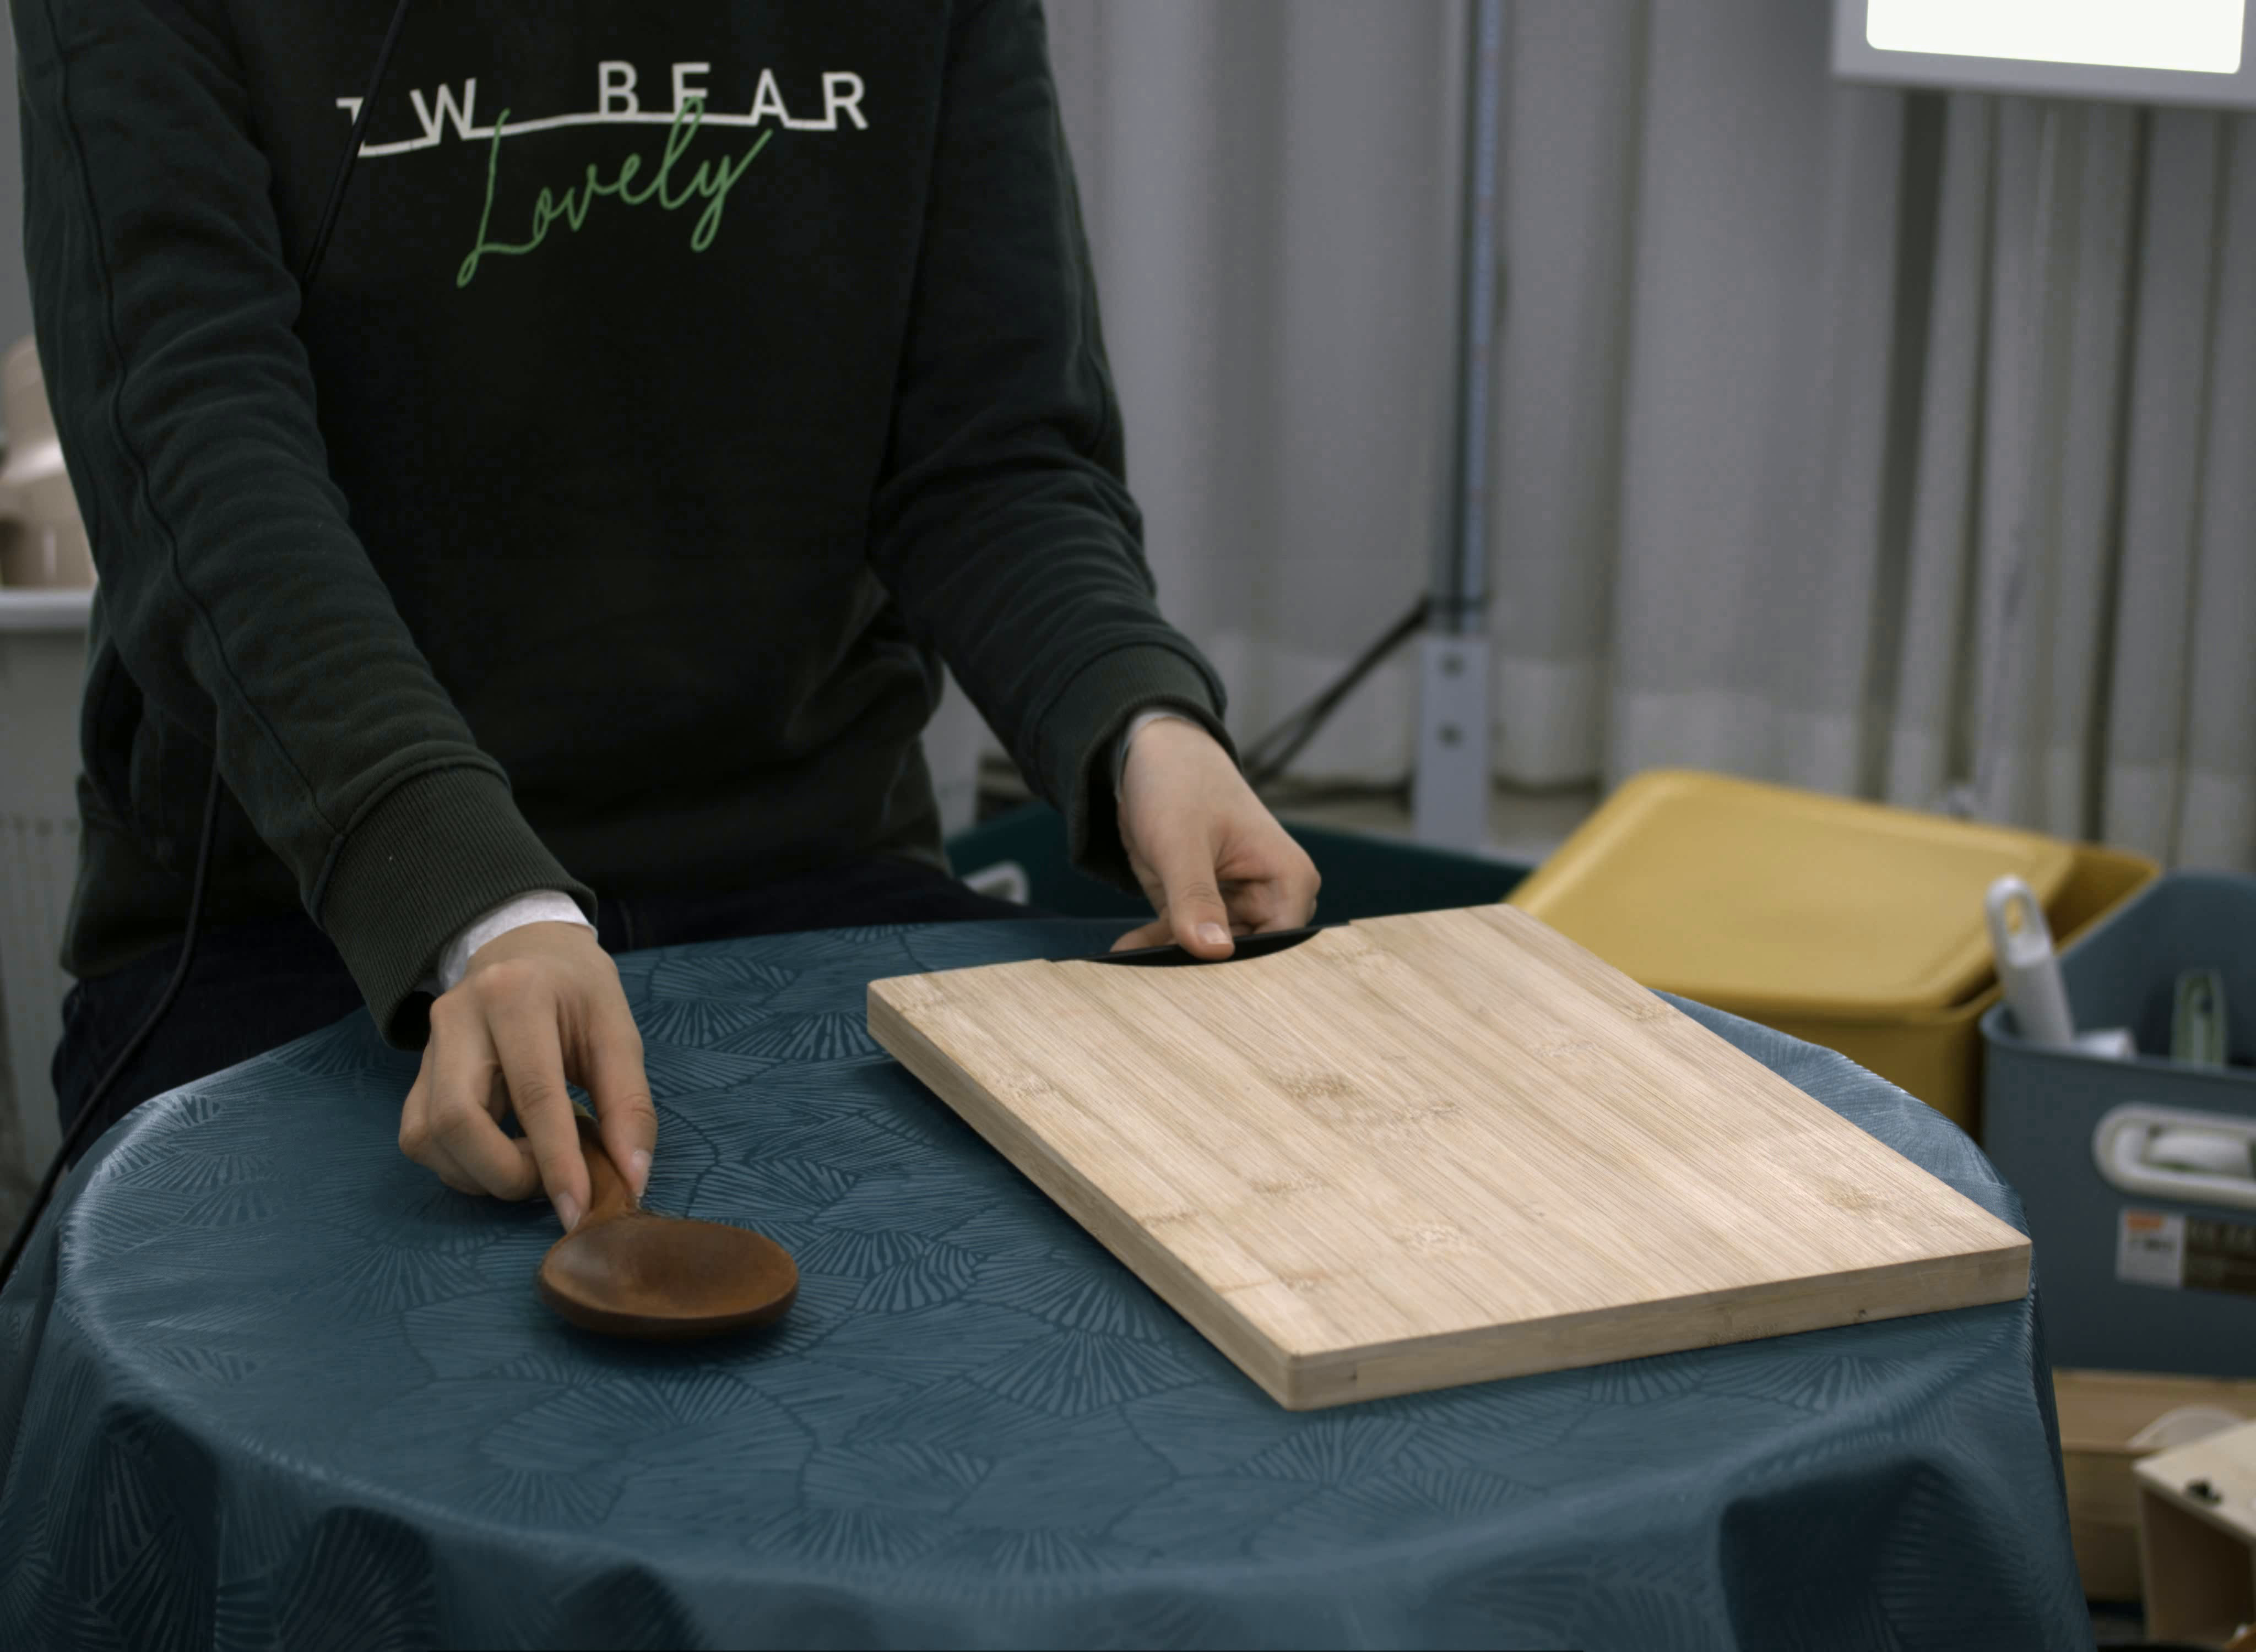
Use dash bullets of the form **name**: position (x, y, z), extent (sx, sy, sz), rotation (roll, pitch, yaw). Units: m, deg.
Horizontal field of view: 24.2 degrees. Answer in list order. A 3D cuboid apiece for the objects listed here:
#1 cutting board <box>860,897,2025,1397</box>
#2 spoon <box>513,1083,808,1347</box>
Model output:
- **cutting board**: position (0.087, 0.093, 1.648), extent (0.251, 0.024, 0.344), rotation (-6, 19, -24)
- **spoon**: position (-0.150, 0.117, 1.573), extent (0.075, 0.017, 0.213), rotation (-6, 18, -18)
